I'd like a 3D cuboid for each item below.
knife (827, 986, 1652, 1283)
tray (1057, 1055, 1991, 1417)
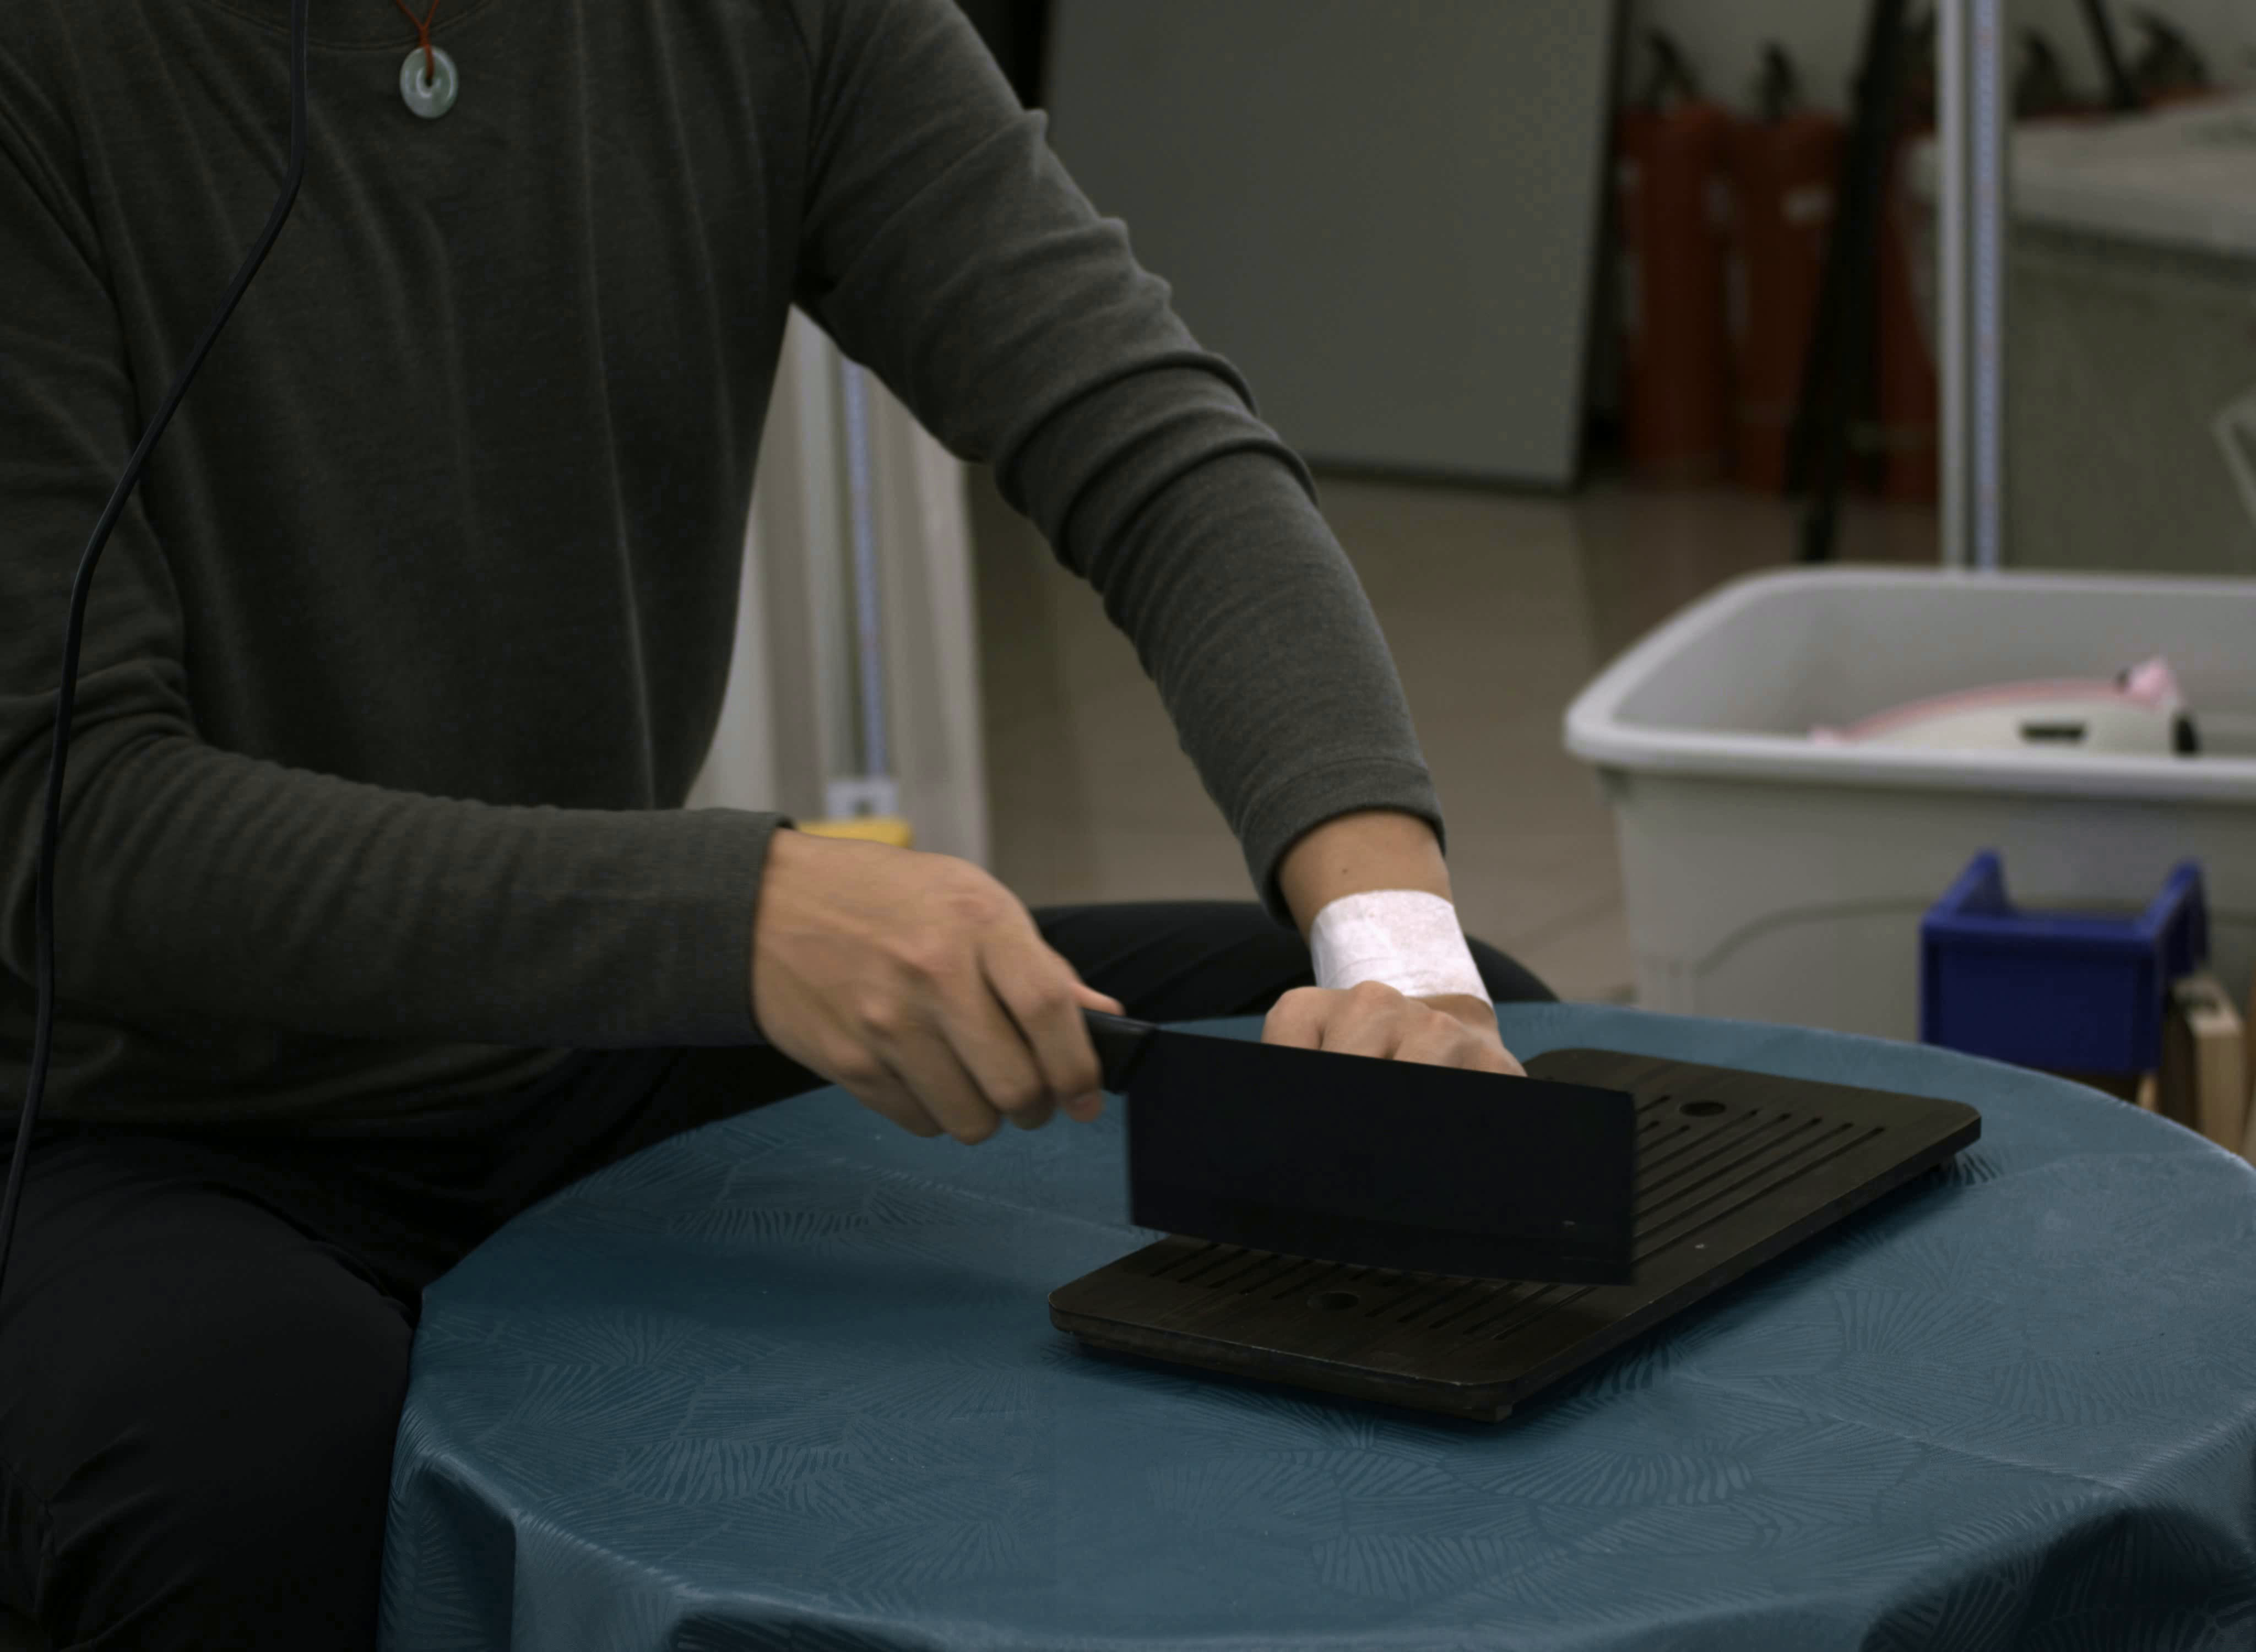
[{"bbox_3d":[0.030,0.091,1.653,0.304,0.082,0.020,10,13,34],"label":"knife"},{"bbox_3d":[0.129,0.125,1.682,0.171,0.019,0.300,5,16,38],"label":"tray"}]
